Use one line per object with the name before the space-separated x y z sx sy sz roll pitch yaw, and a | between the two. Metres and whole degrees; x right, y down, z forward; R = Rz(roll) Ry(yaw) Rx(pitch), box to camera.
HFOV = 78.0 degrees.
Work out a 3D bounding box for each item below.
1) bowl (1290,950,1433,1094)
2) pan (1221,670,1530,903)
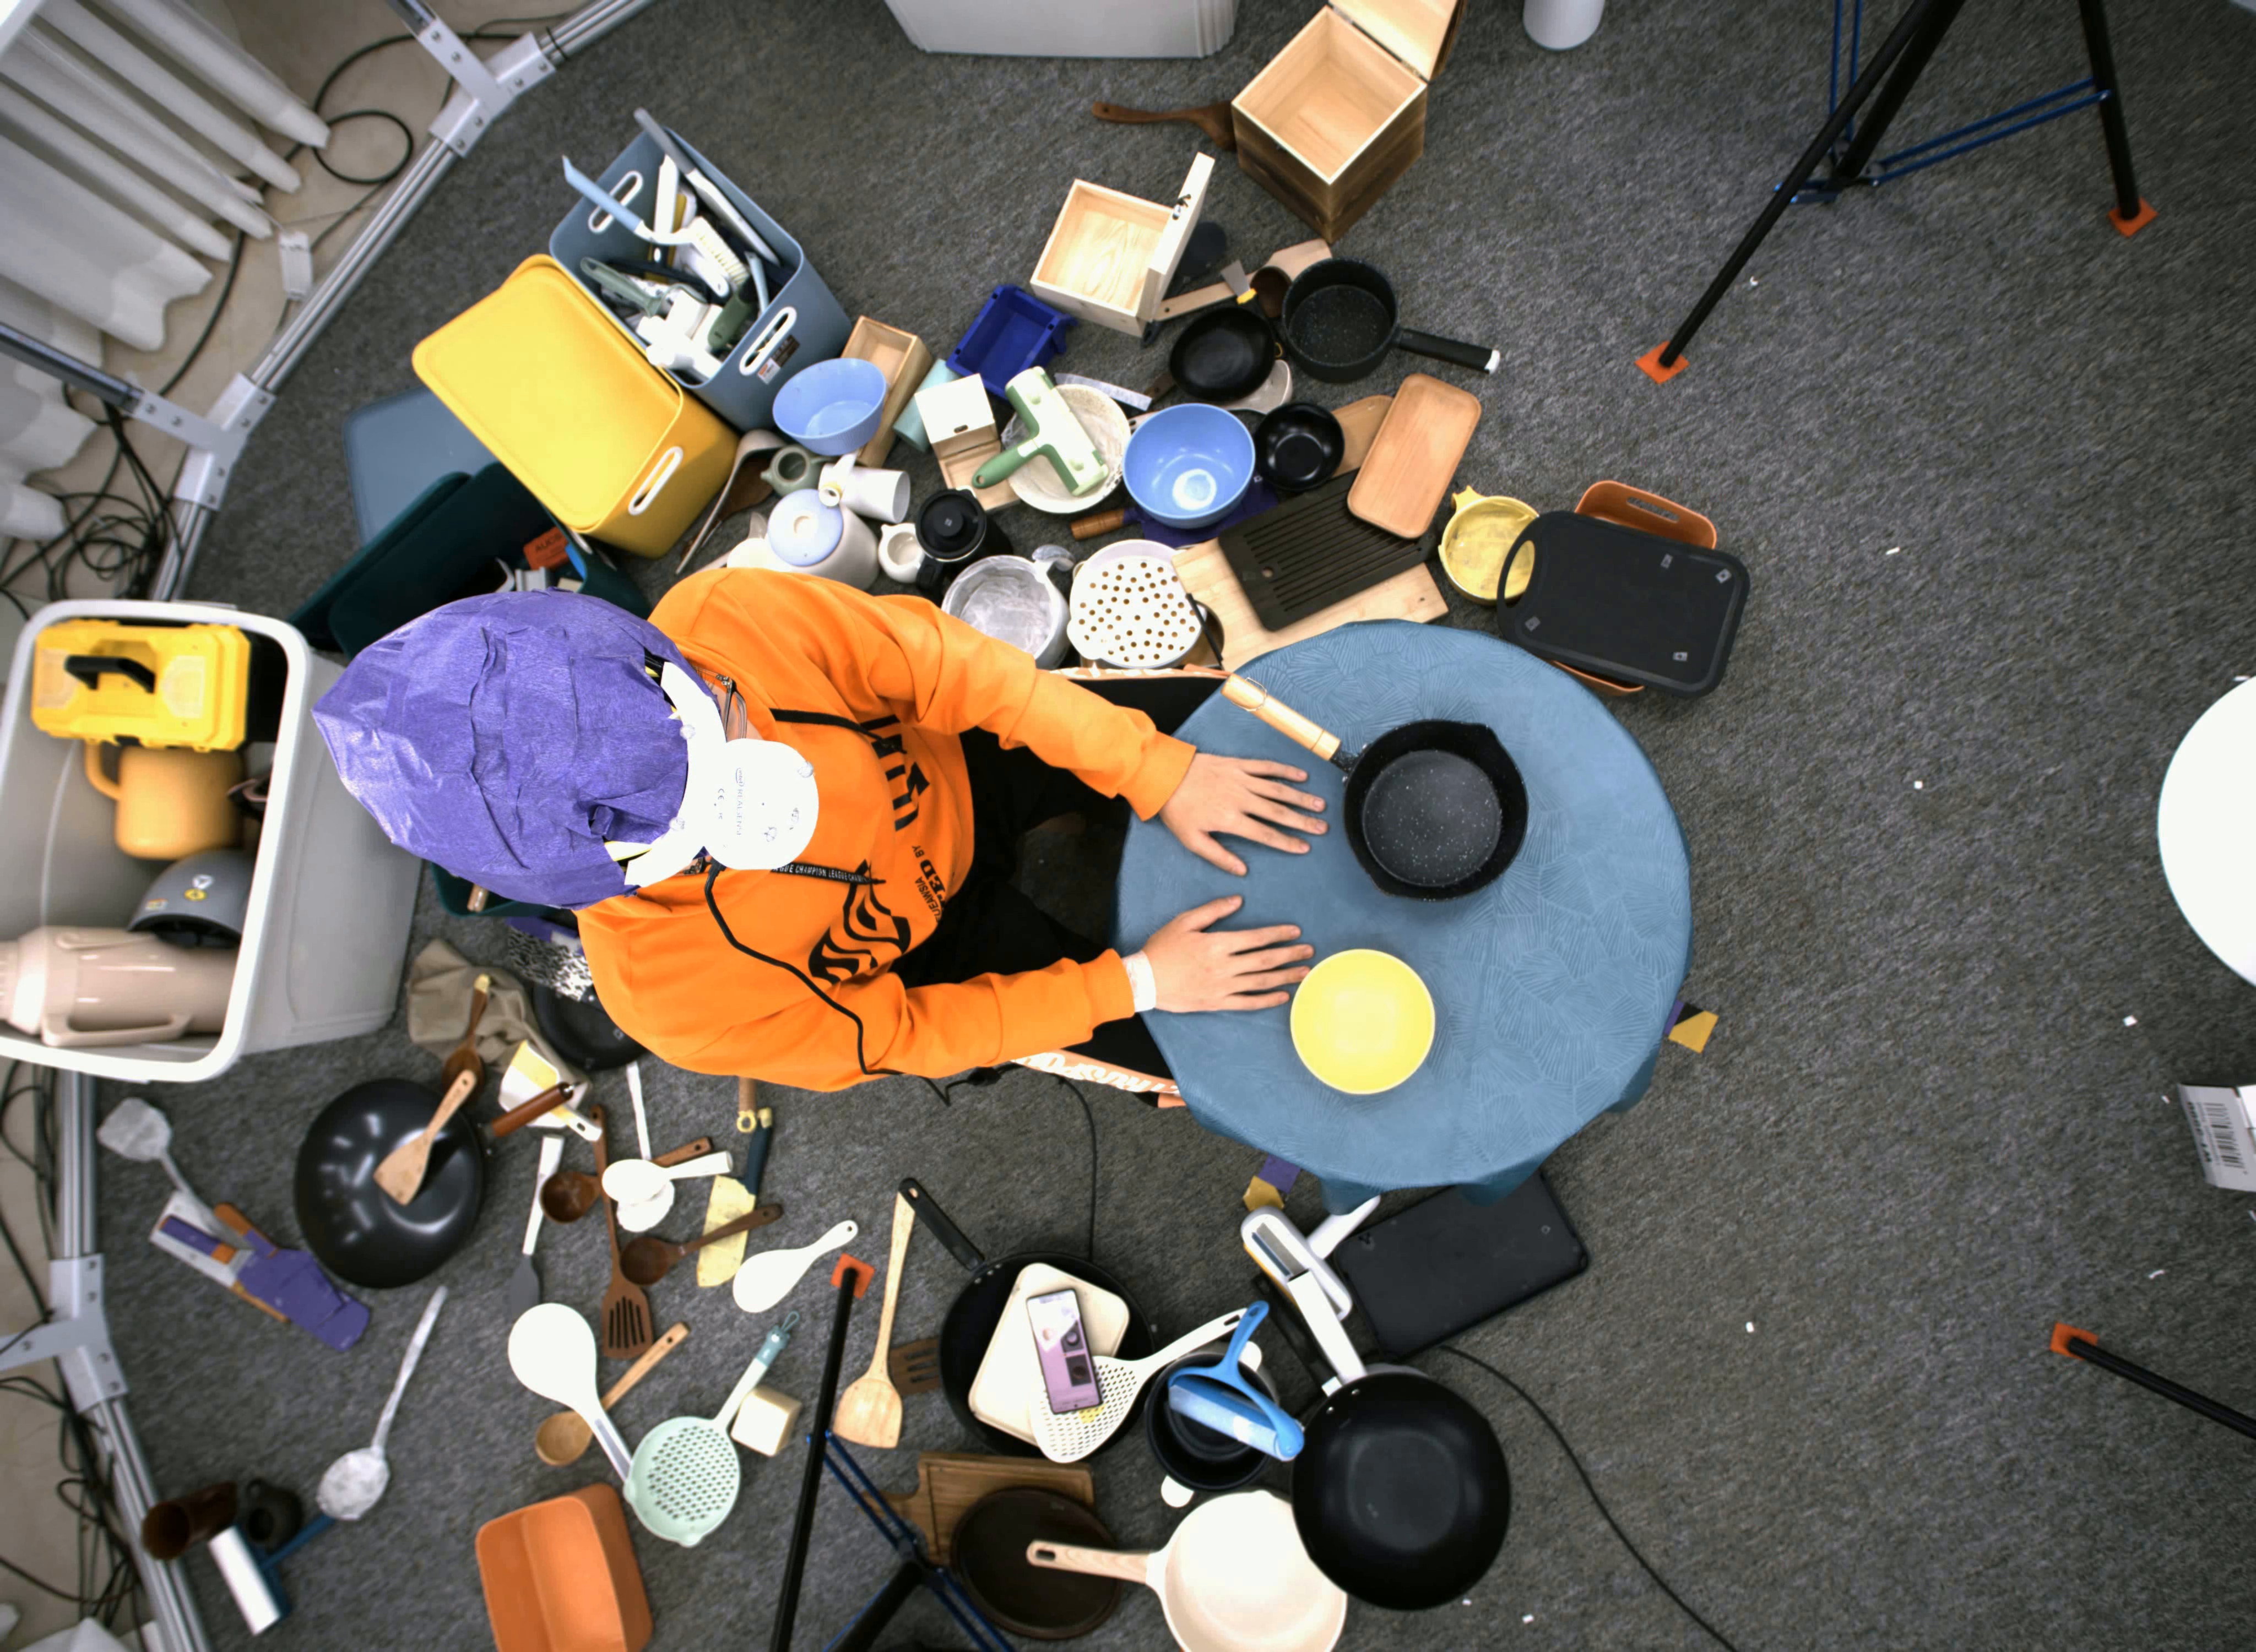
bowl | 0.241 0.200 1.429 0.146 0.060 0.144 -1 85 11
pan | 0.245 -0.055 1.417 0.342 0.108 0.208 31 94 9
